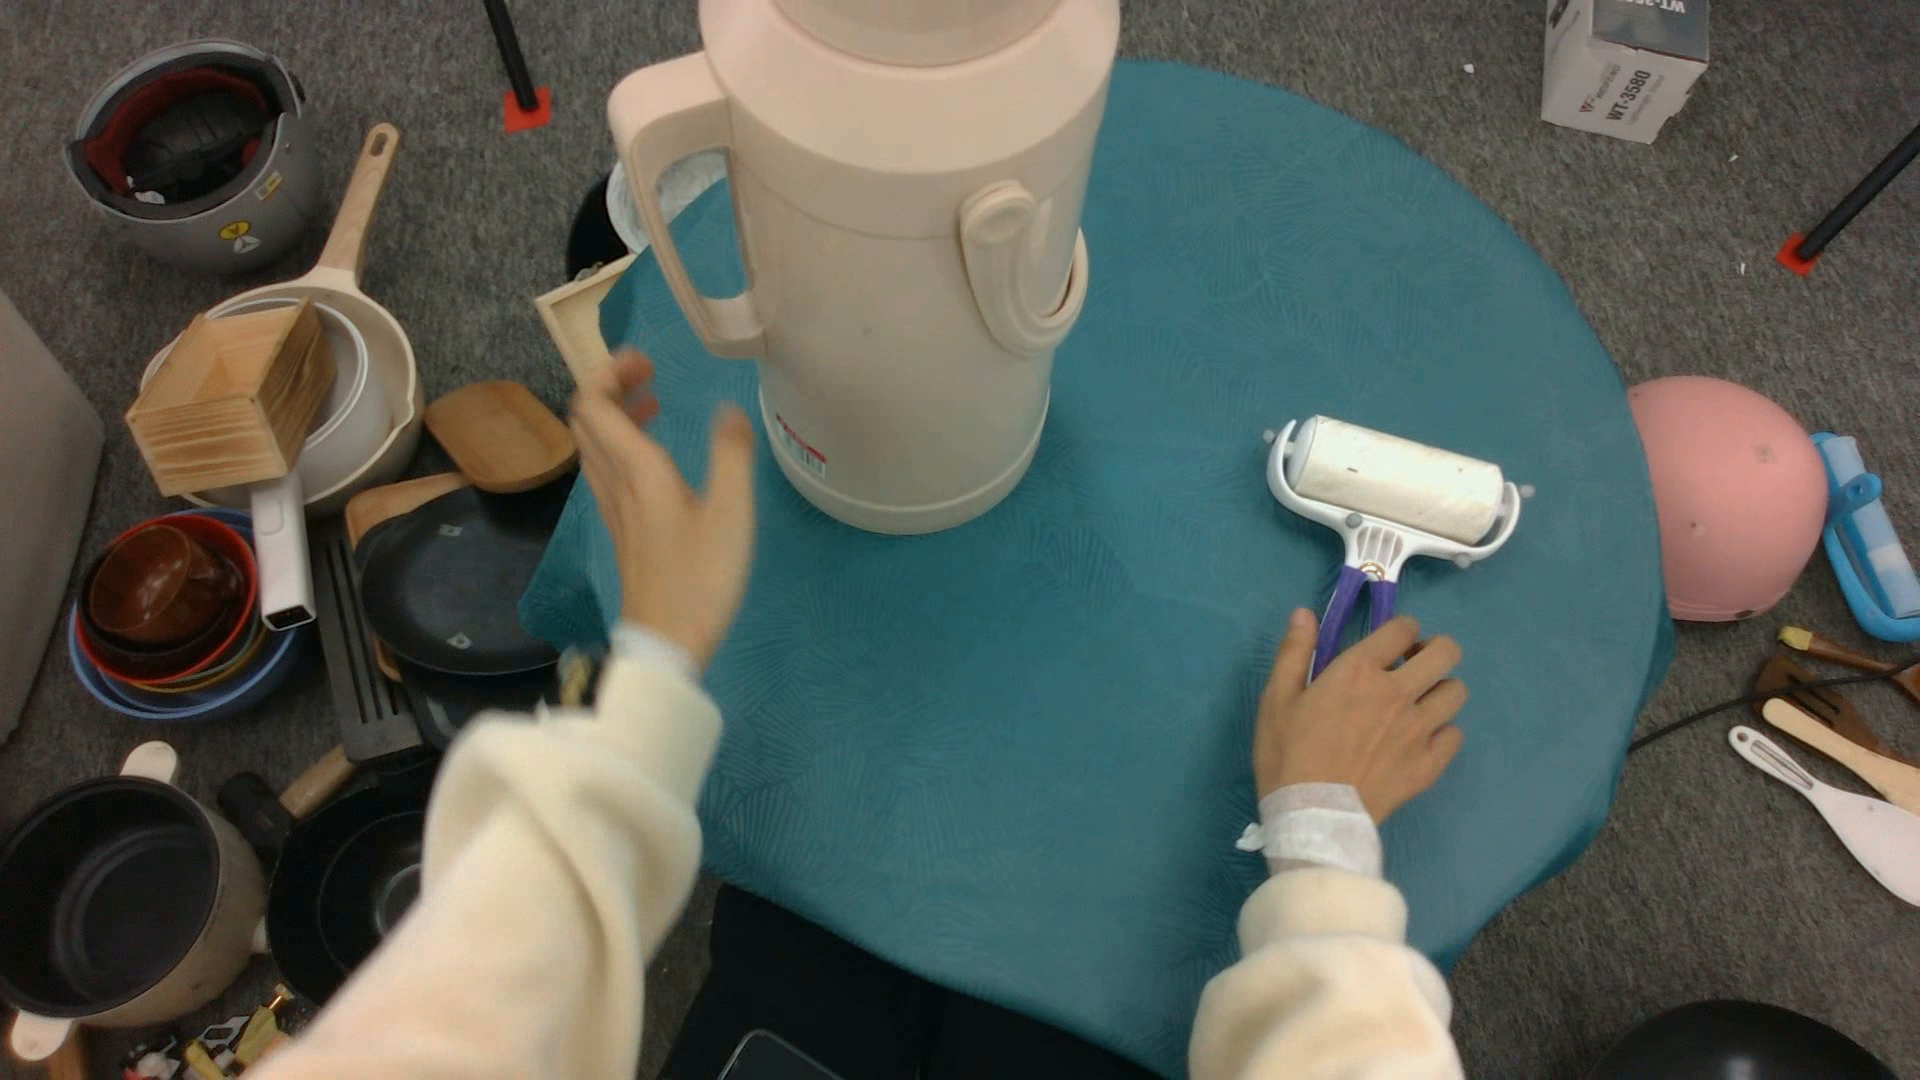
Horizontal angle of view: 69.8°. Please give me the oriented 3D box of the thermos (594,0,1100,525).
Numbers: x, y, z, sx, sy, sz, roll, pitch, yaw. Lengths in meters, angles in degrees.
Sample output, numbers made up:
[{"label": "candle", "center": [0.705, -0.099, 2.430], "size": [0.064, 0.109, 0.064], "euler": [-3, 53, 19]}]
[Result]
[{"label": "thermos", "center": [-0.042, -0.158, 0.601], "size": [0.207, 0.404, 0.175], "euler": [-22, 69, -13]}]

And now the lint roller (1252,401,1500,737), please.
[{"label": "lint roller", "center": [0.207, 0.014, 0.726], "size": [0.133, 0.050, 0.181], "euler": [19, 62, 4]}]
